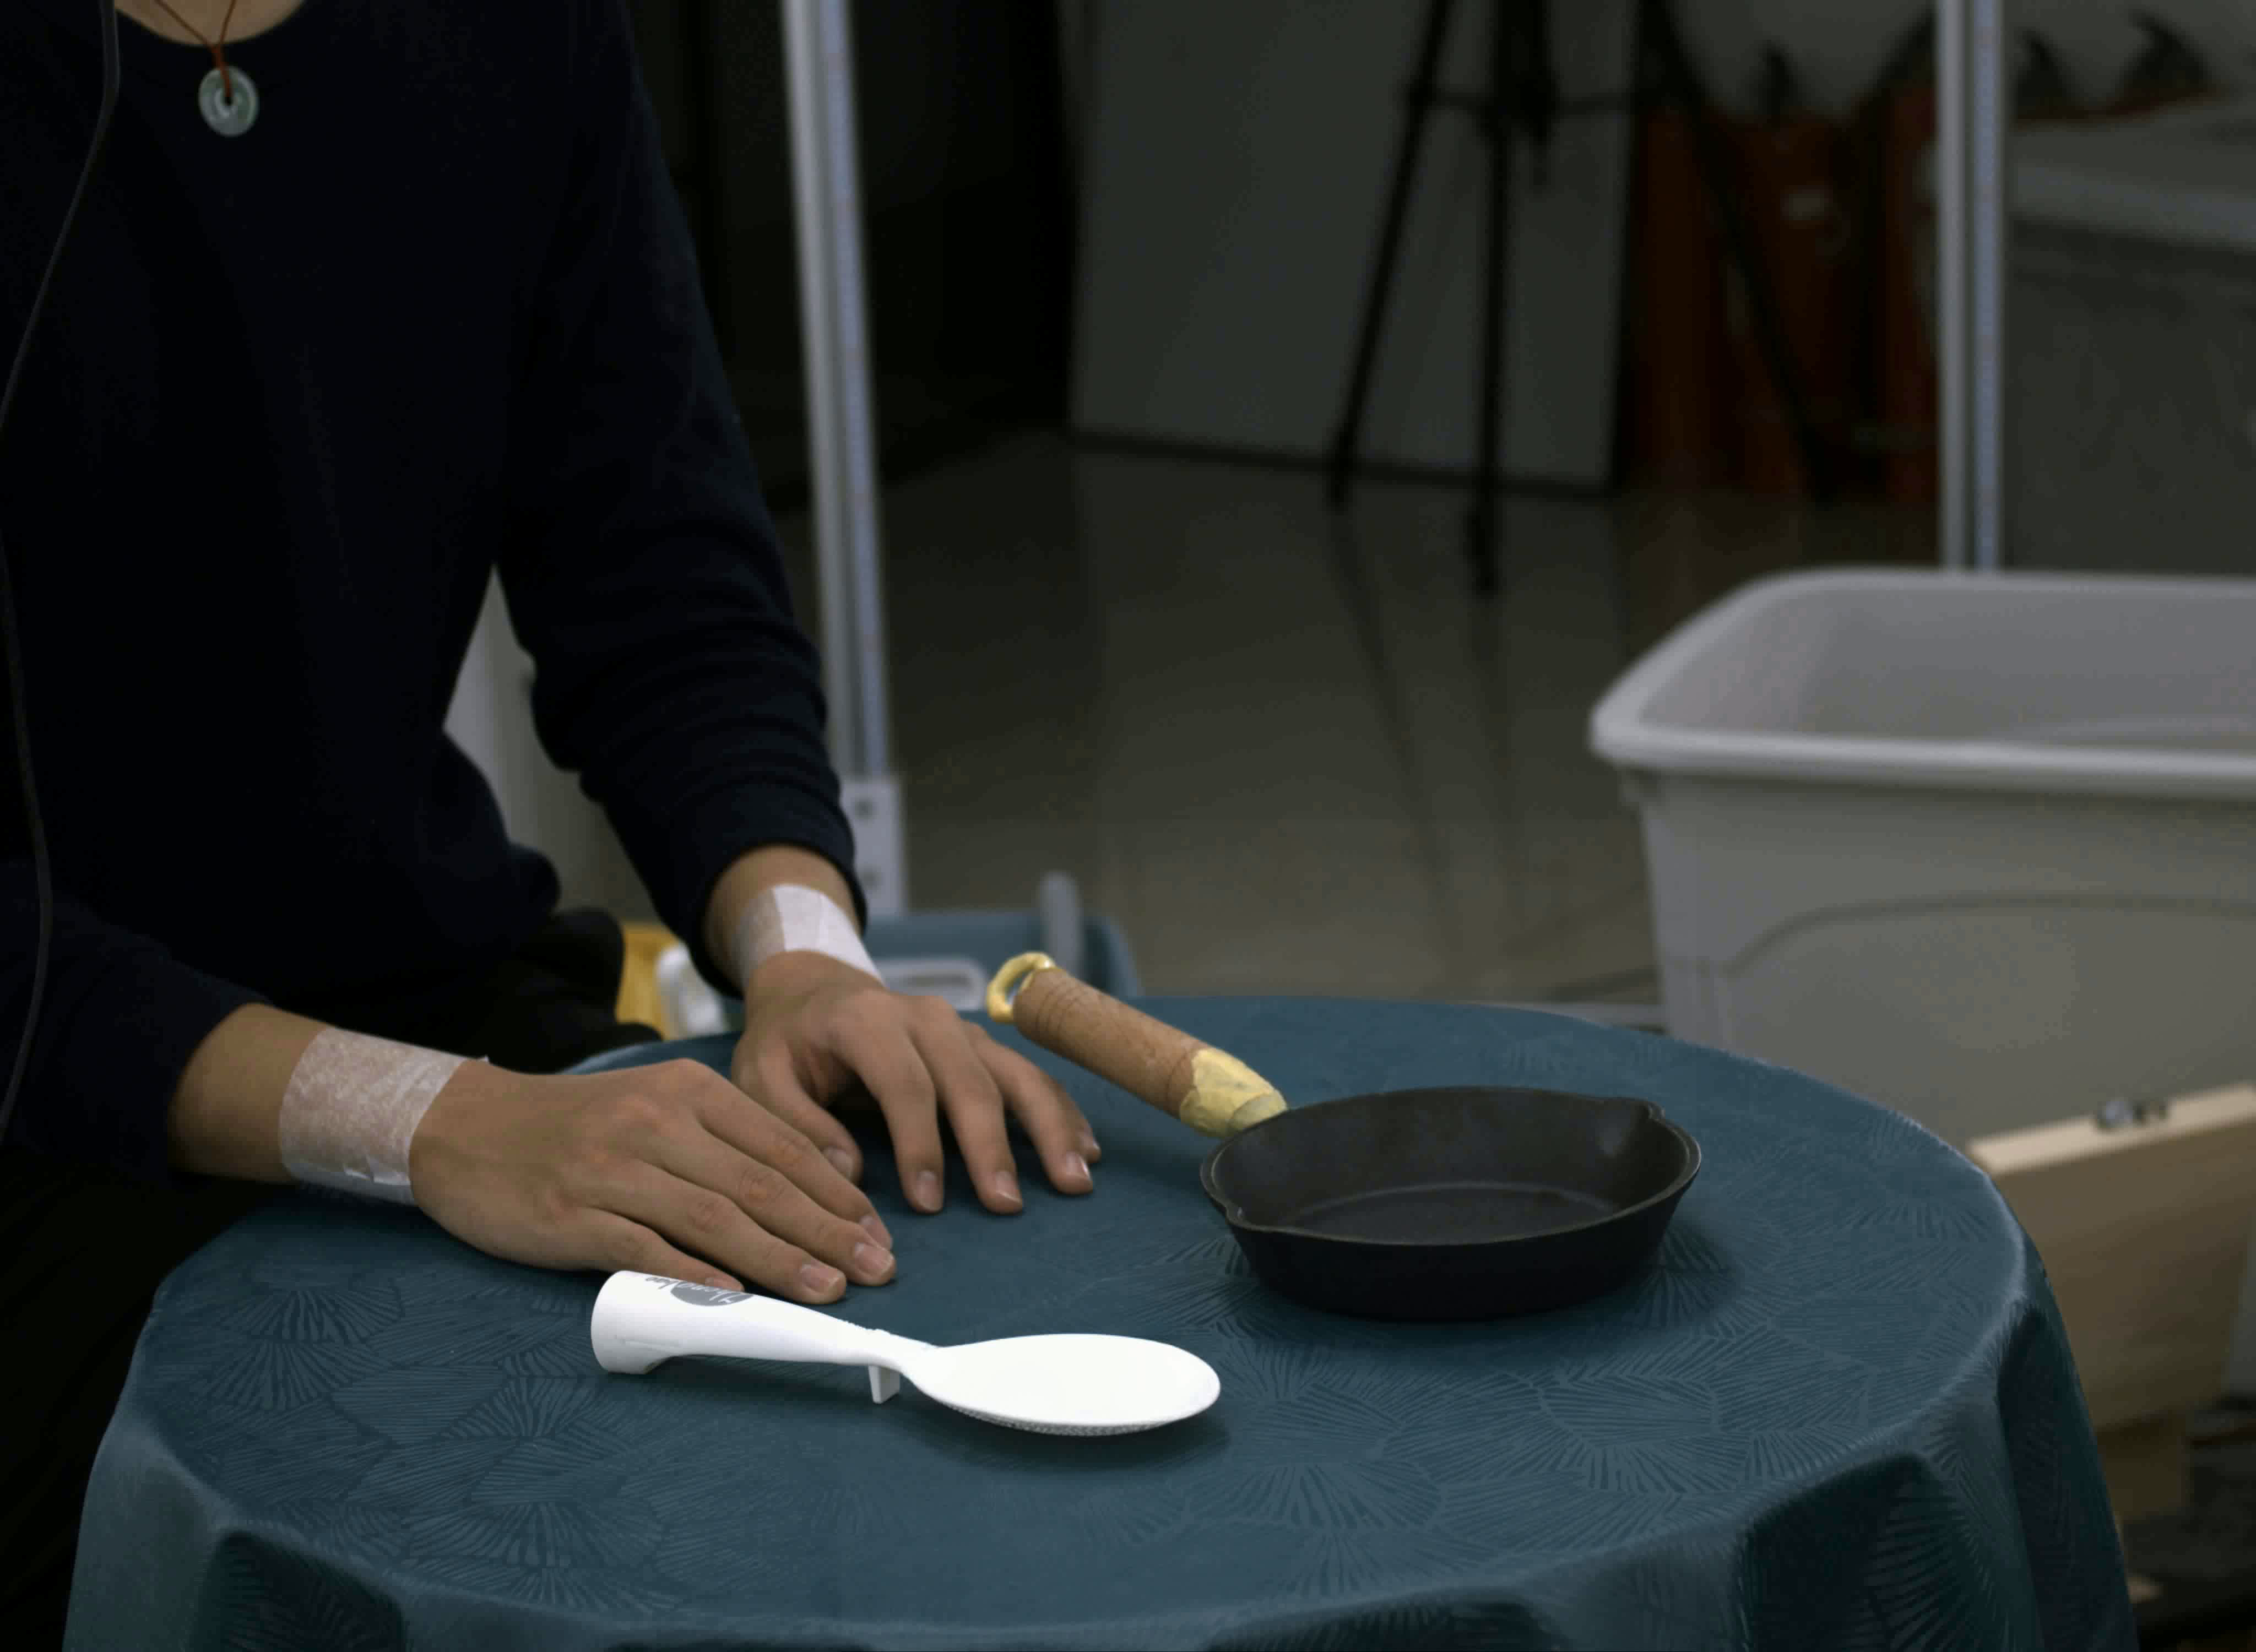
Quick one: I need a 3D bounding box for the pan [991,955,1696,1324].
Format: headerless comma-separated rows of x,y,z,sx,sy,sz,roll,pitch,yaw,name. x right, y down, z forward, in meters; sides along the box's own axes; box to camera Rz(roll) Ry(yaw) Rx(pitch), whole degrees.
0.053,0.097,1.747,0.165,0.050,0.328,-13,18,-32,pan

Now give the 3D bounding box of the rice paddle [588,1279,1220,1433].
-0.066,0.156,1.588,0.206,0.030,0.068,3,17,29,rice paddle
